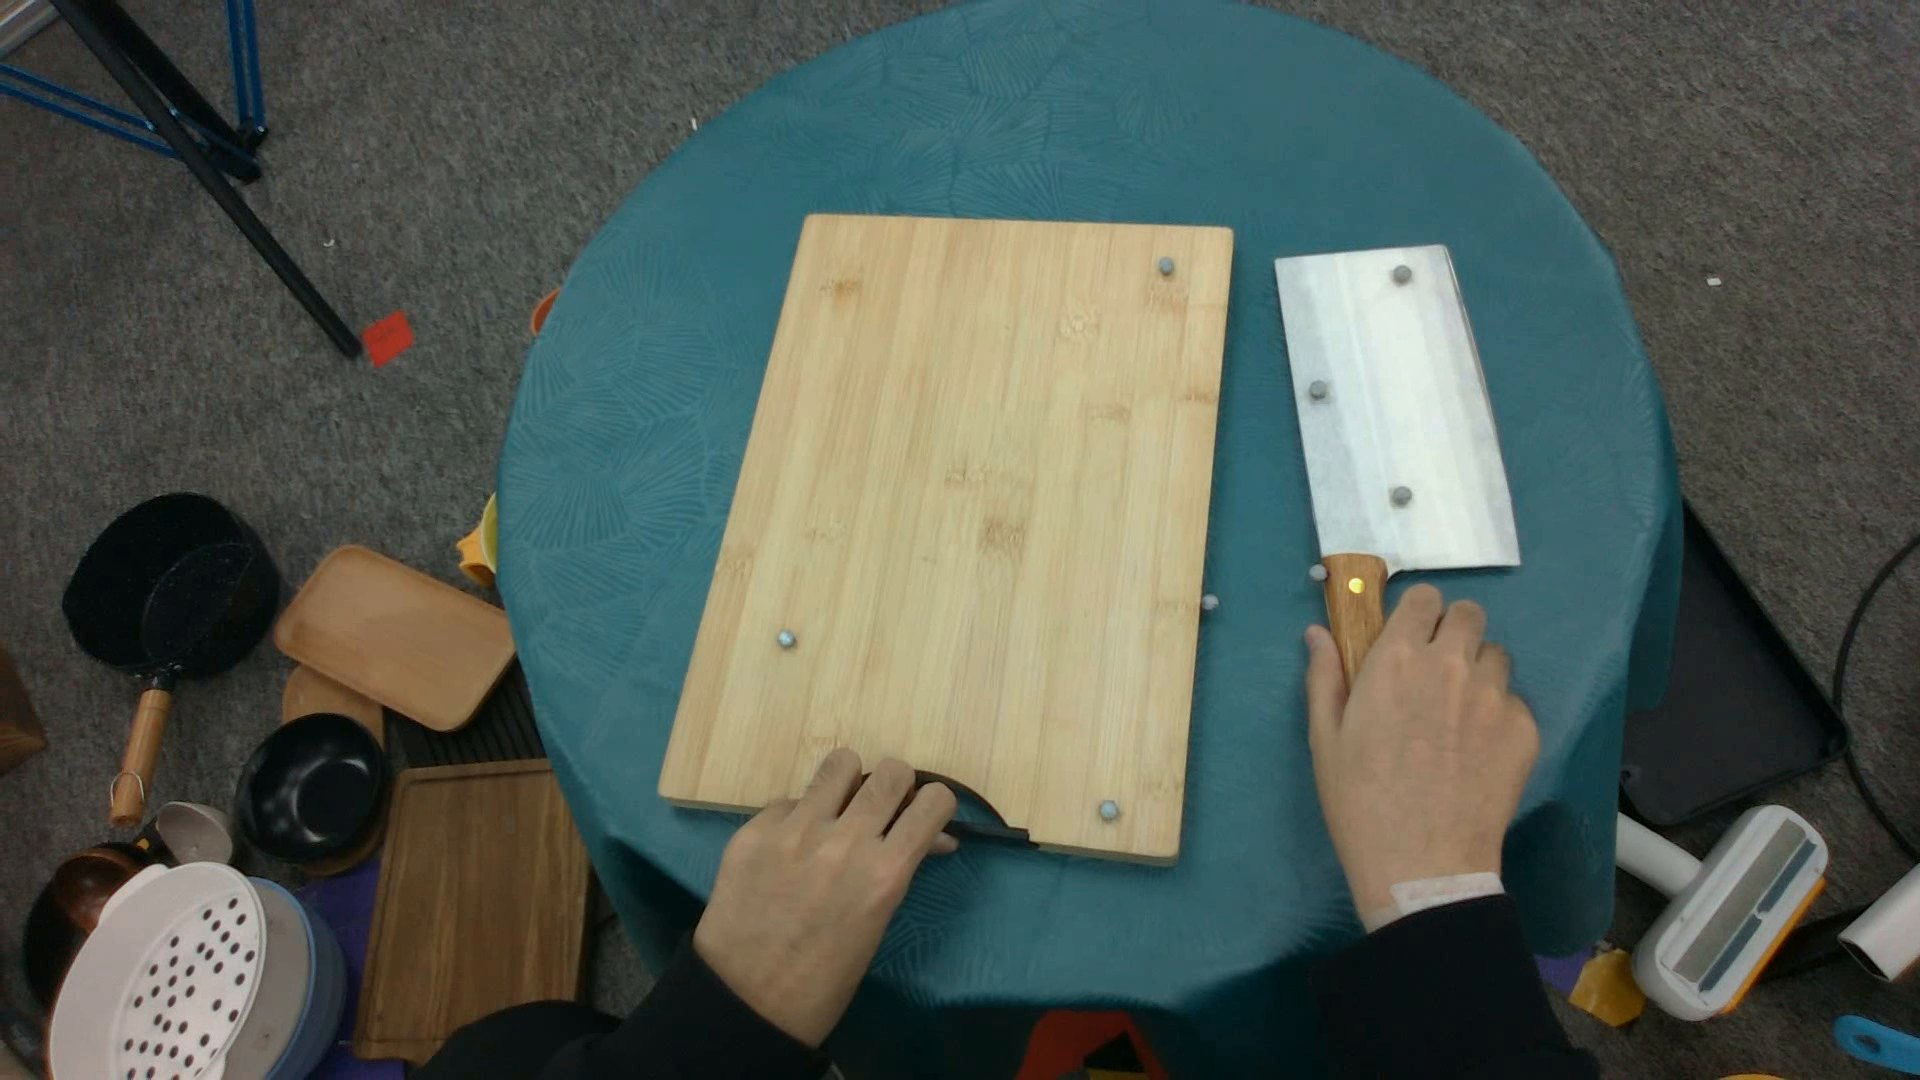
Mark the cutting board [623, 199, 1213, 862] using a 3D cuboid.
[{"bbox_3d":[-0.009,-0.025,0.688,0.250,0.023,0.350,3,64,10],"label":"cutting board"}]

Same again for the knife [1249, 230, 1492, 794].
[{"bbox_3d":[0.203,-0.029,0.663,0.093,0.021,0.307,-4,62,3],"label":"knife"}]
